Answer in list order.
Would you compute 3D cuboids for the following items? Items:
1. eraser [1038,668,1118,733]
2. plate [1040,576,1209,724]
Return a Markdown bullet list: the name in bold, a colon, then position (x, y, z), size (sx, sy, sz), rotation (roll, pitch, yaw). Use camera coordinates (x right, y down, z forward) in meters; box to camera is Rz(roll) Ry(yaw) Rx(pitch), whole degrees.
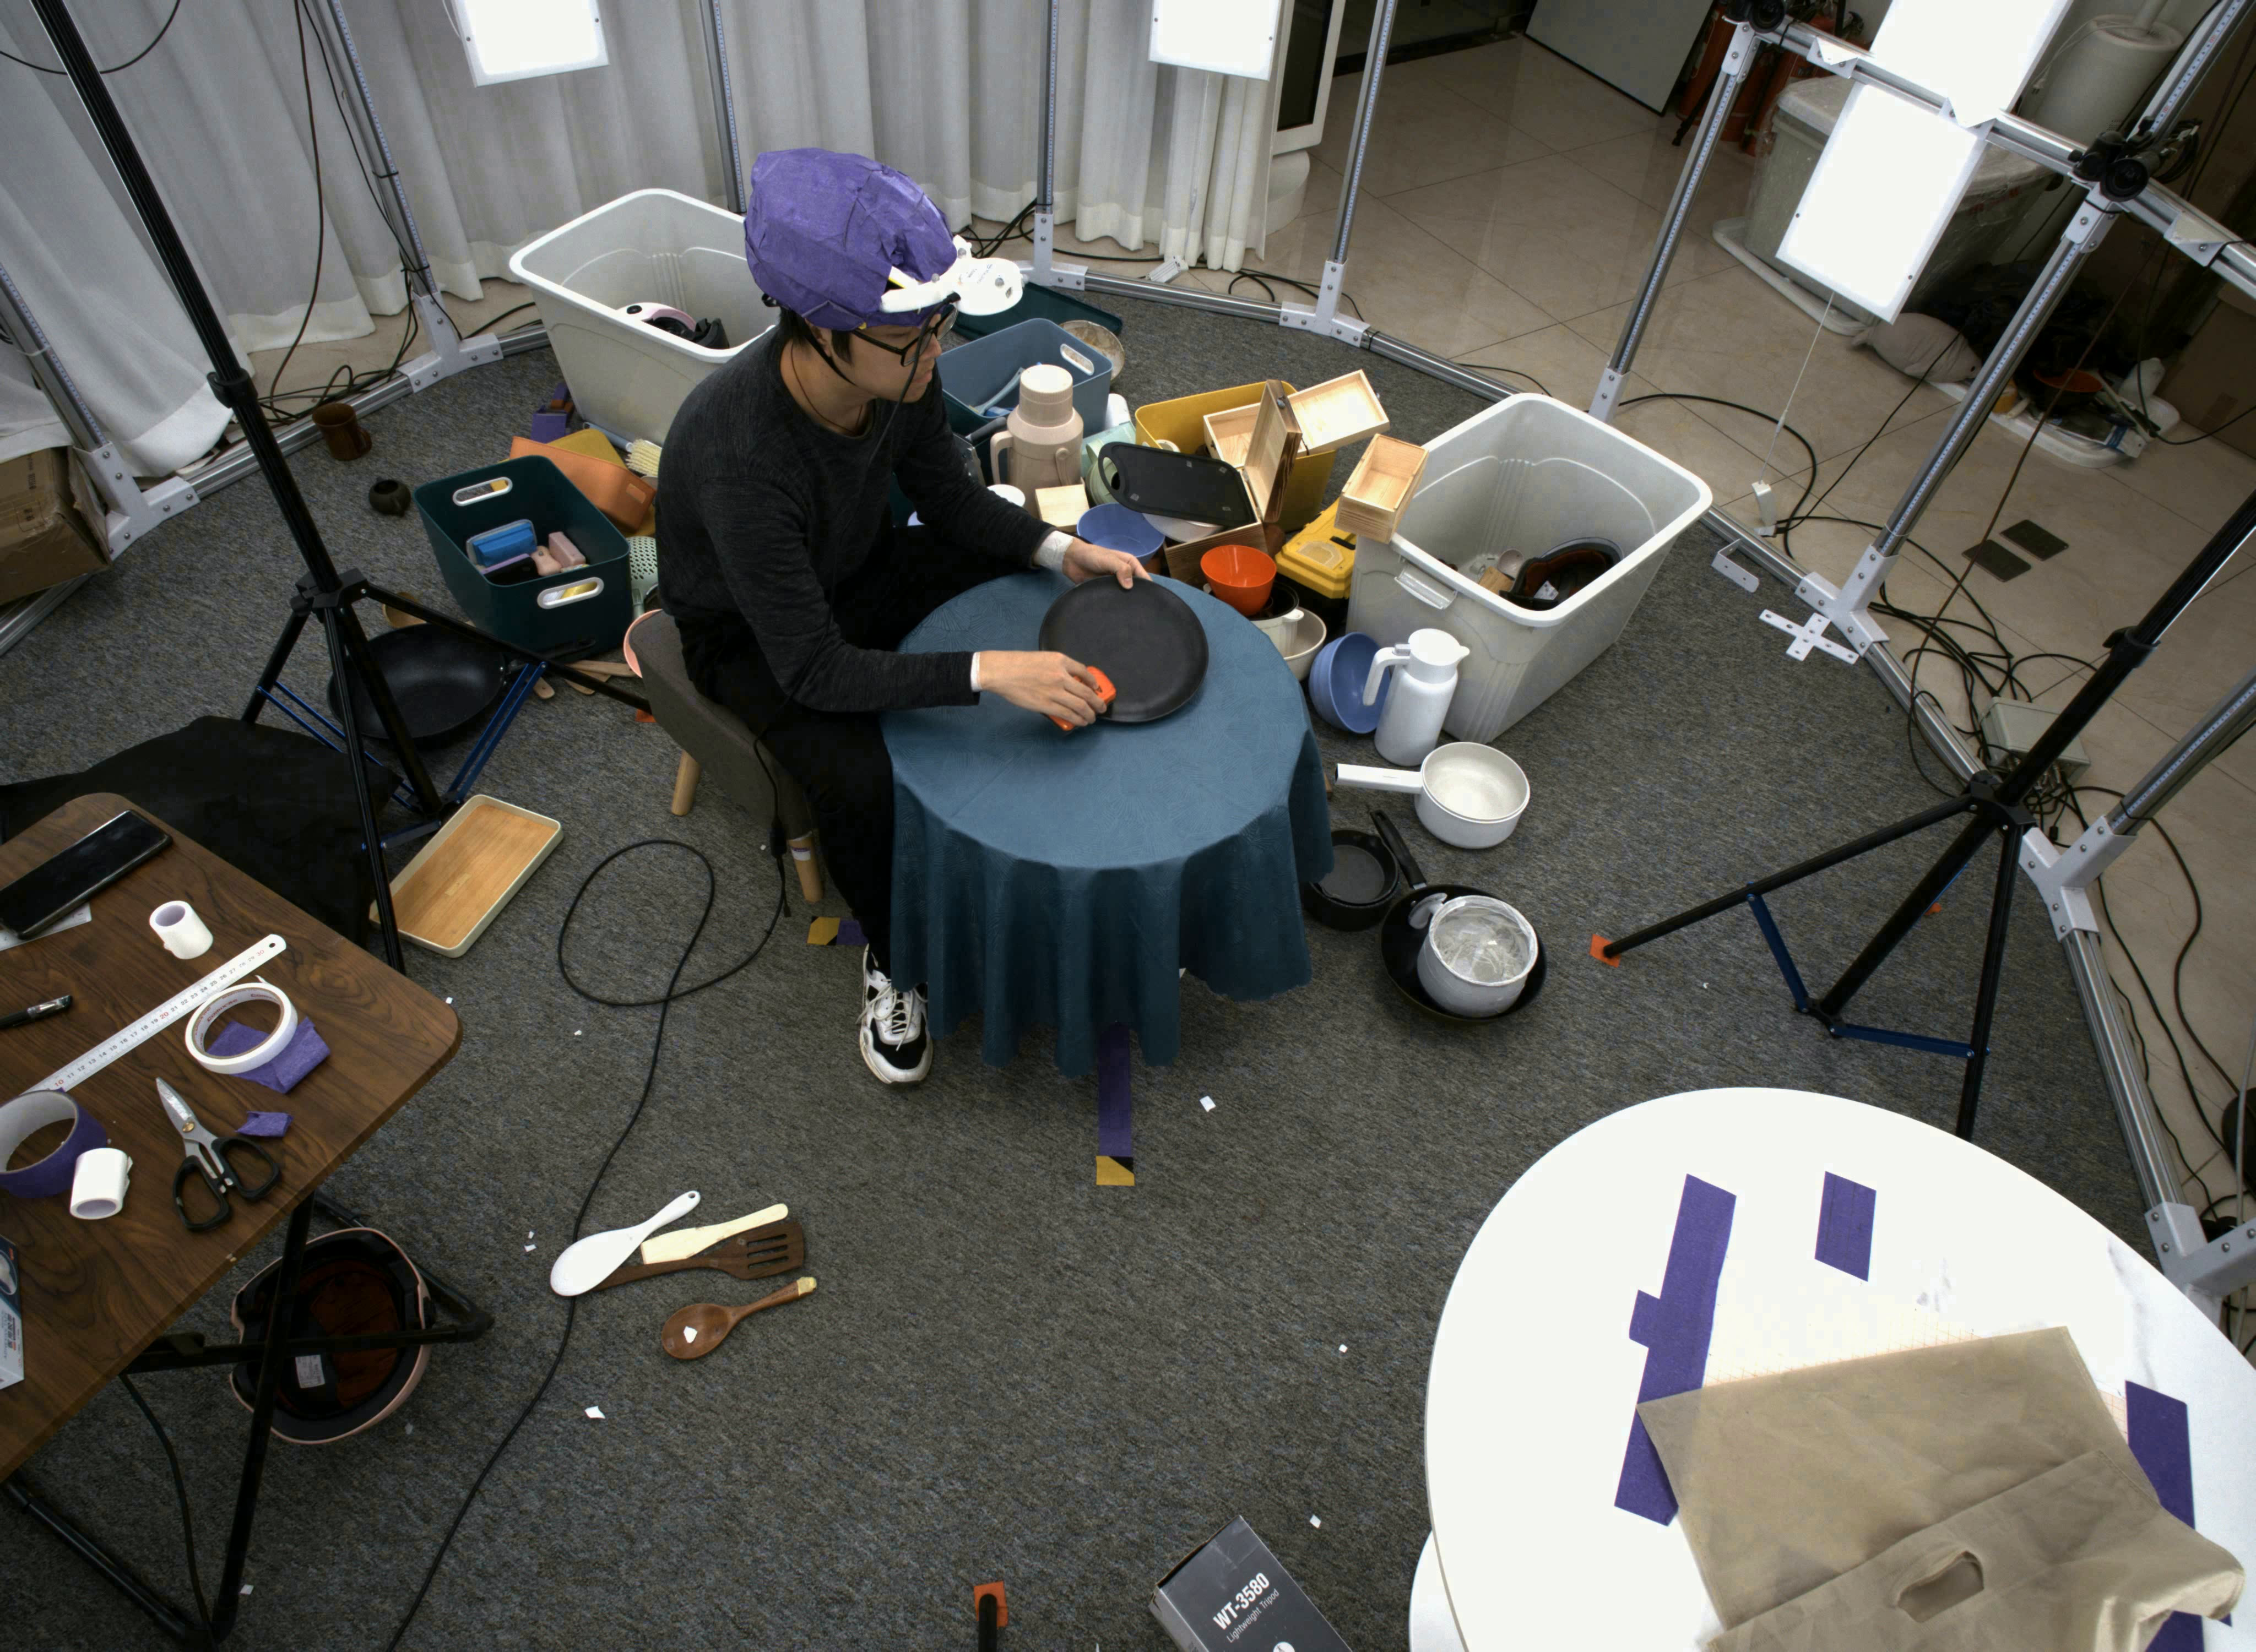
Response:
- **eraser**: position (-0.069, -0.174, 1.771), size (0.059, 0.022, 0.109), rotation (42, 54, 16)
- **plate**: position (-0.005, -0.252, 1.842), size (0.244, 0.023, 0.249), rotation (3, 64, -6)
